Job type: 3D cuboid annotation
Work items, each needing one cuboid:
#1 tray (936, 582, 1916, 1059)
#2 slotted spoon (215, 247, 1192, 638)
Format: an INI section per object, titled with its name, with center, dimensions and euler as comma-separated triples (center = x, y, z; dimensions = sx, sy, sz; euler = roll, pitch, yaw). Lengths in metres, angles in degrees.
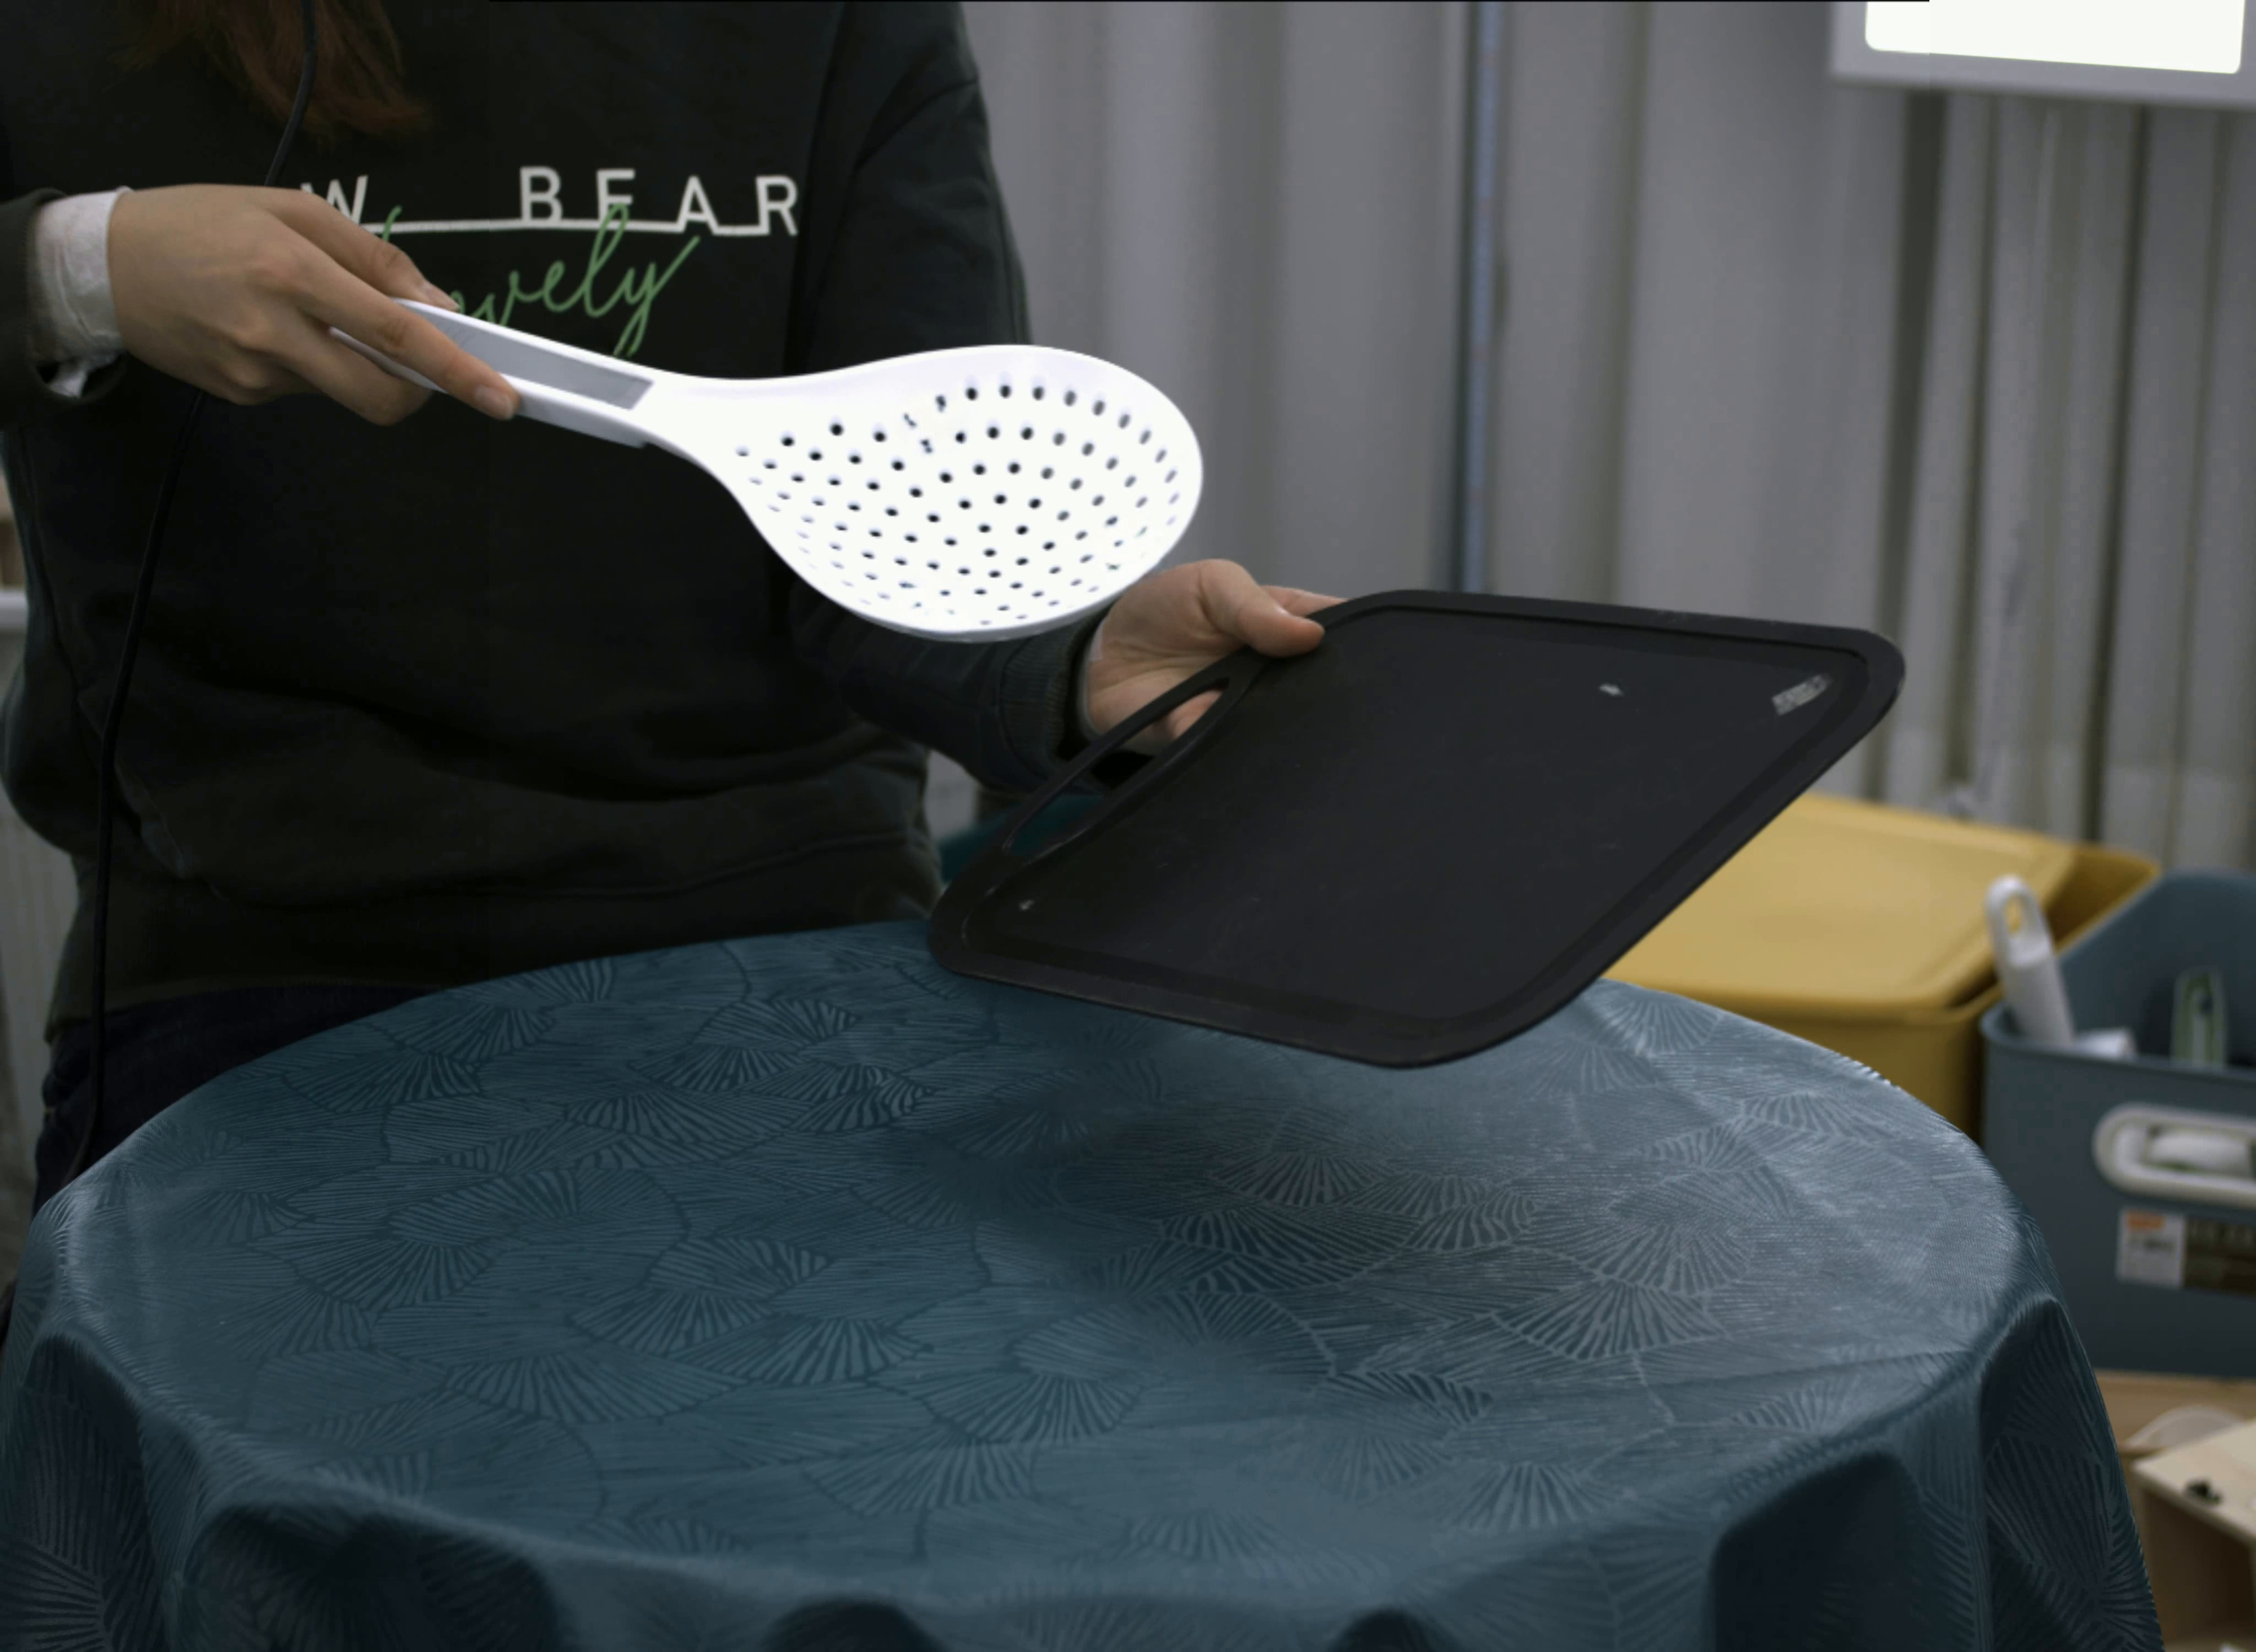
[tray]
center = 0.076, -0.009, 1.585
dimensions = 0.211, 0.010, 0.321
euler = -40, 26, -25
[slotted spoon]
center = -0.143, -0.133, 1.691
dimensions = 0.346, 0.046, 0.135
euler = 21, 48, 16
